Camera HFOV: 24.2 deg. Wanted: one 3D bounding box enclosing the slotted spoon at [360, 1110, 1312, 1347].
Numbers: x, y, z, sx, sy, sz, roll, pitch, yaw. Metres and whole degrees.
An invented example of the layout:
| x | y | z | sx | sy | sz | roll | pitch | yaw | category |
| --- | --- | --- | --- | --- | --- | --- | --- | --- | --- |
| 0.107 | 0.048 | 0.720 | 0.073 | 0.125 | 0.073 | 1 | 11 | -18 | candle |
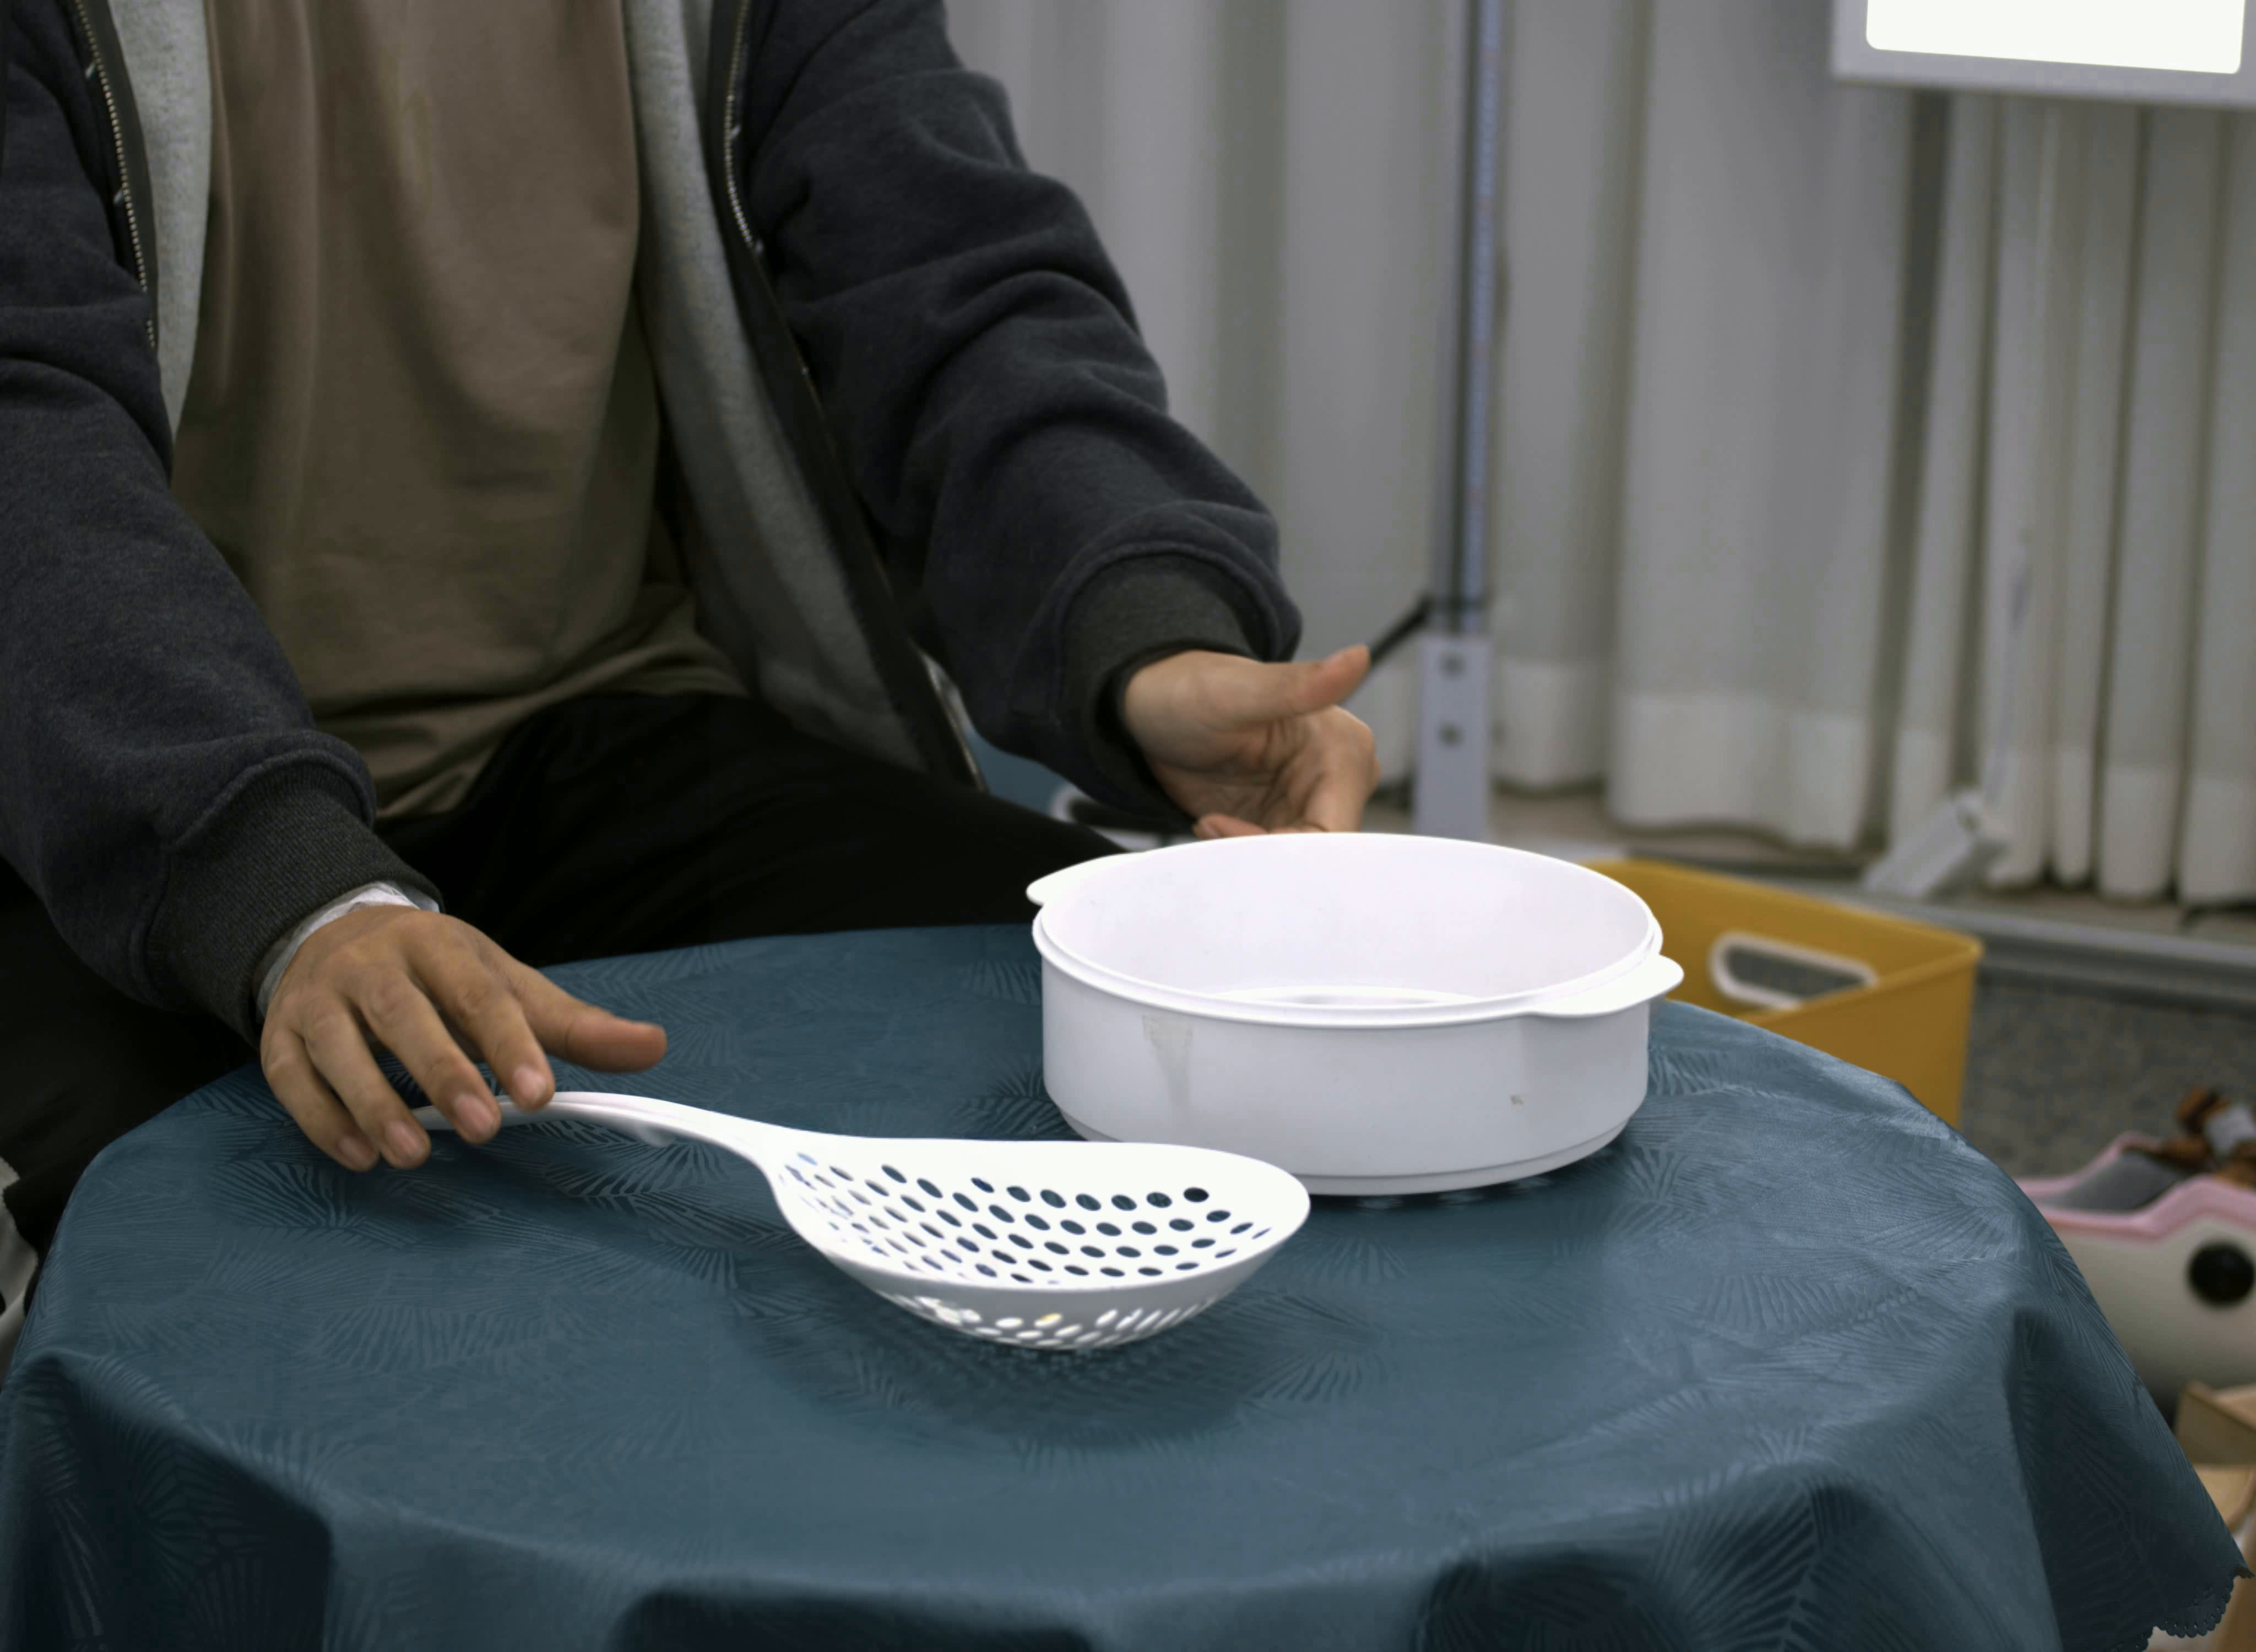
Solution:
| x | y | z | sx | sy | sz | roll | pitch | yaw | category |
| --- | --- | --- | --- | --- | --- | --- | --- | --- | --- |
| -0.101 | 0.107 | 1.564 | 0.343 | 0.051 | 0.137 | 12 | 23 | 37 | slotted spoon |

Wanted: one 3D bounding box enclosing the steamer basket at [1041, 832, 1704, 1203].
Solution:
| x | y | z | sx | sy | sz | roll | pitch | yaw | category |
| --- | --- | --- | --- | --- | --- | --- | --- | --- | --- |
| 0.074 | 0.061 | 1.683 | 0.227 | 0.070 | 0.203 | 14 | 20 | 34 | steamer basket |
